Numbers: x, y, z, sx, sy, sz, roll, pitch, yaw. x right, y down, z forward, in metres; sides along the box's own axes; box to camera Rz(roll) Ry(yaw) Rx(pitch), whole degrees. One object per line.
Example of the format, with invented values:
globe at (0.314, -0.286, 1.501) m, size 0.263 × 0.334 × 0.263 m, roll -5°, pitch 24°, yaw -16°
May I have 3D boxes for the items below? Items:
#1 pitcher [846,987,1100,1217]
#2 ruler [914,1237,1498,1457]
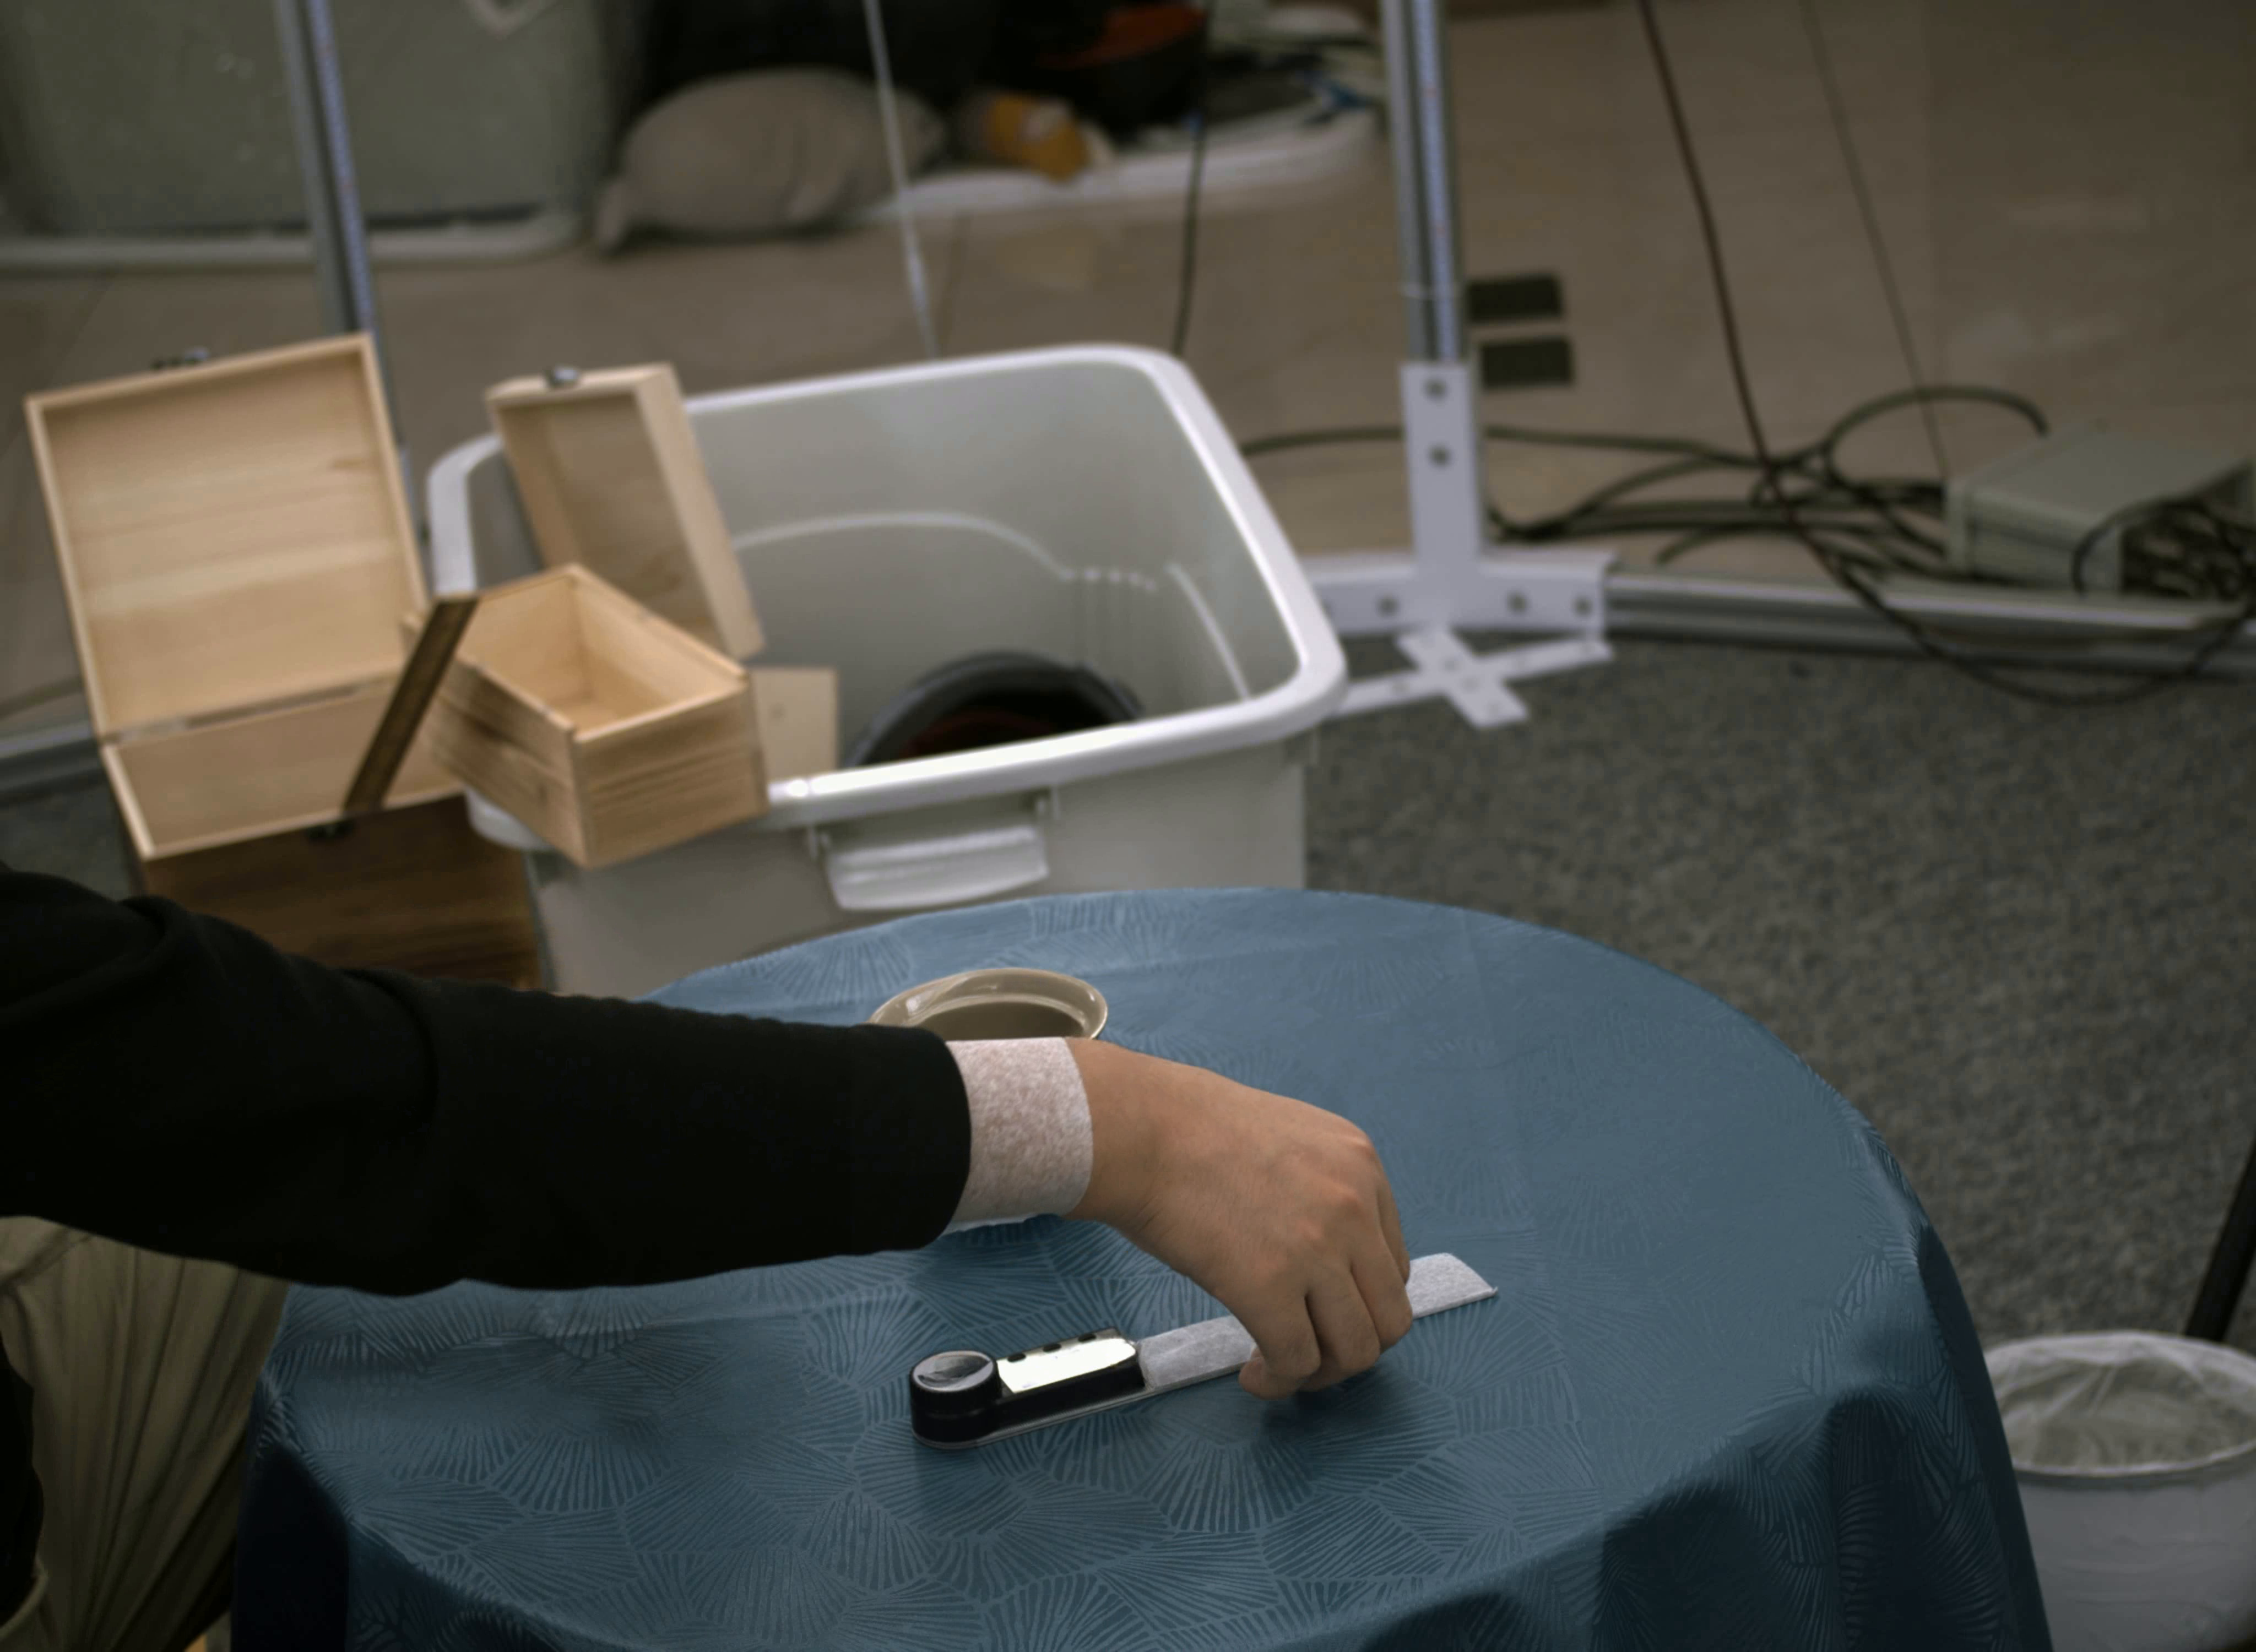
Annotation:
pitcher at (-0.056, 0.106, 2.145) m, size 0.096 × 0.072 × 0.082 m, roll -6°, pitch 26°, yaw -2°
ruler at (0.027, 0.180, 2.028) m, size 0.217 × 0.024 × 0.038 m, roll -15°, pitch 35°, yaw -16°
